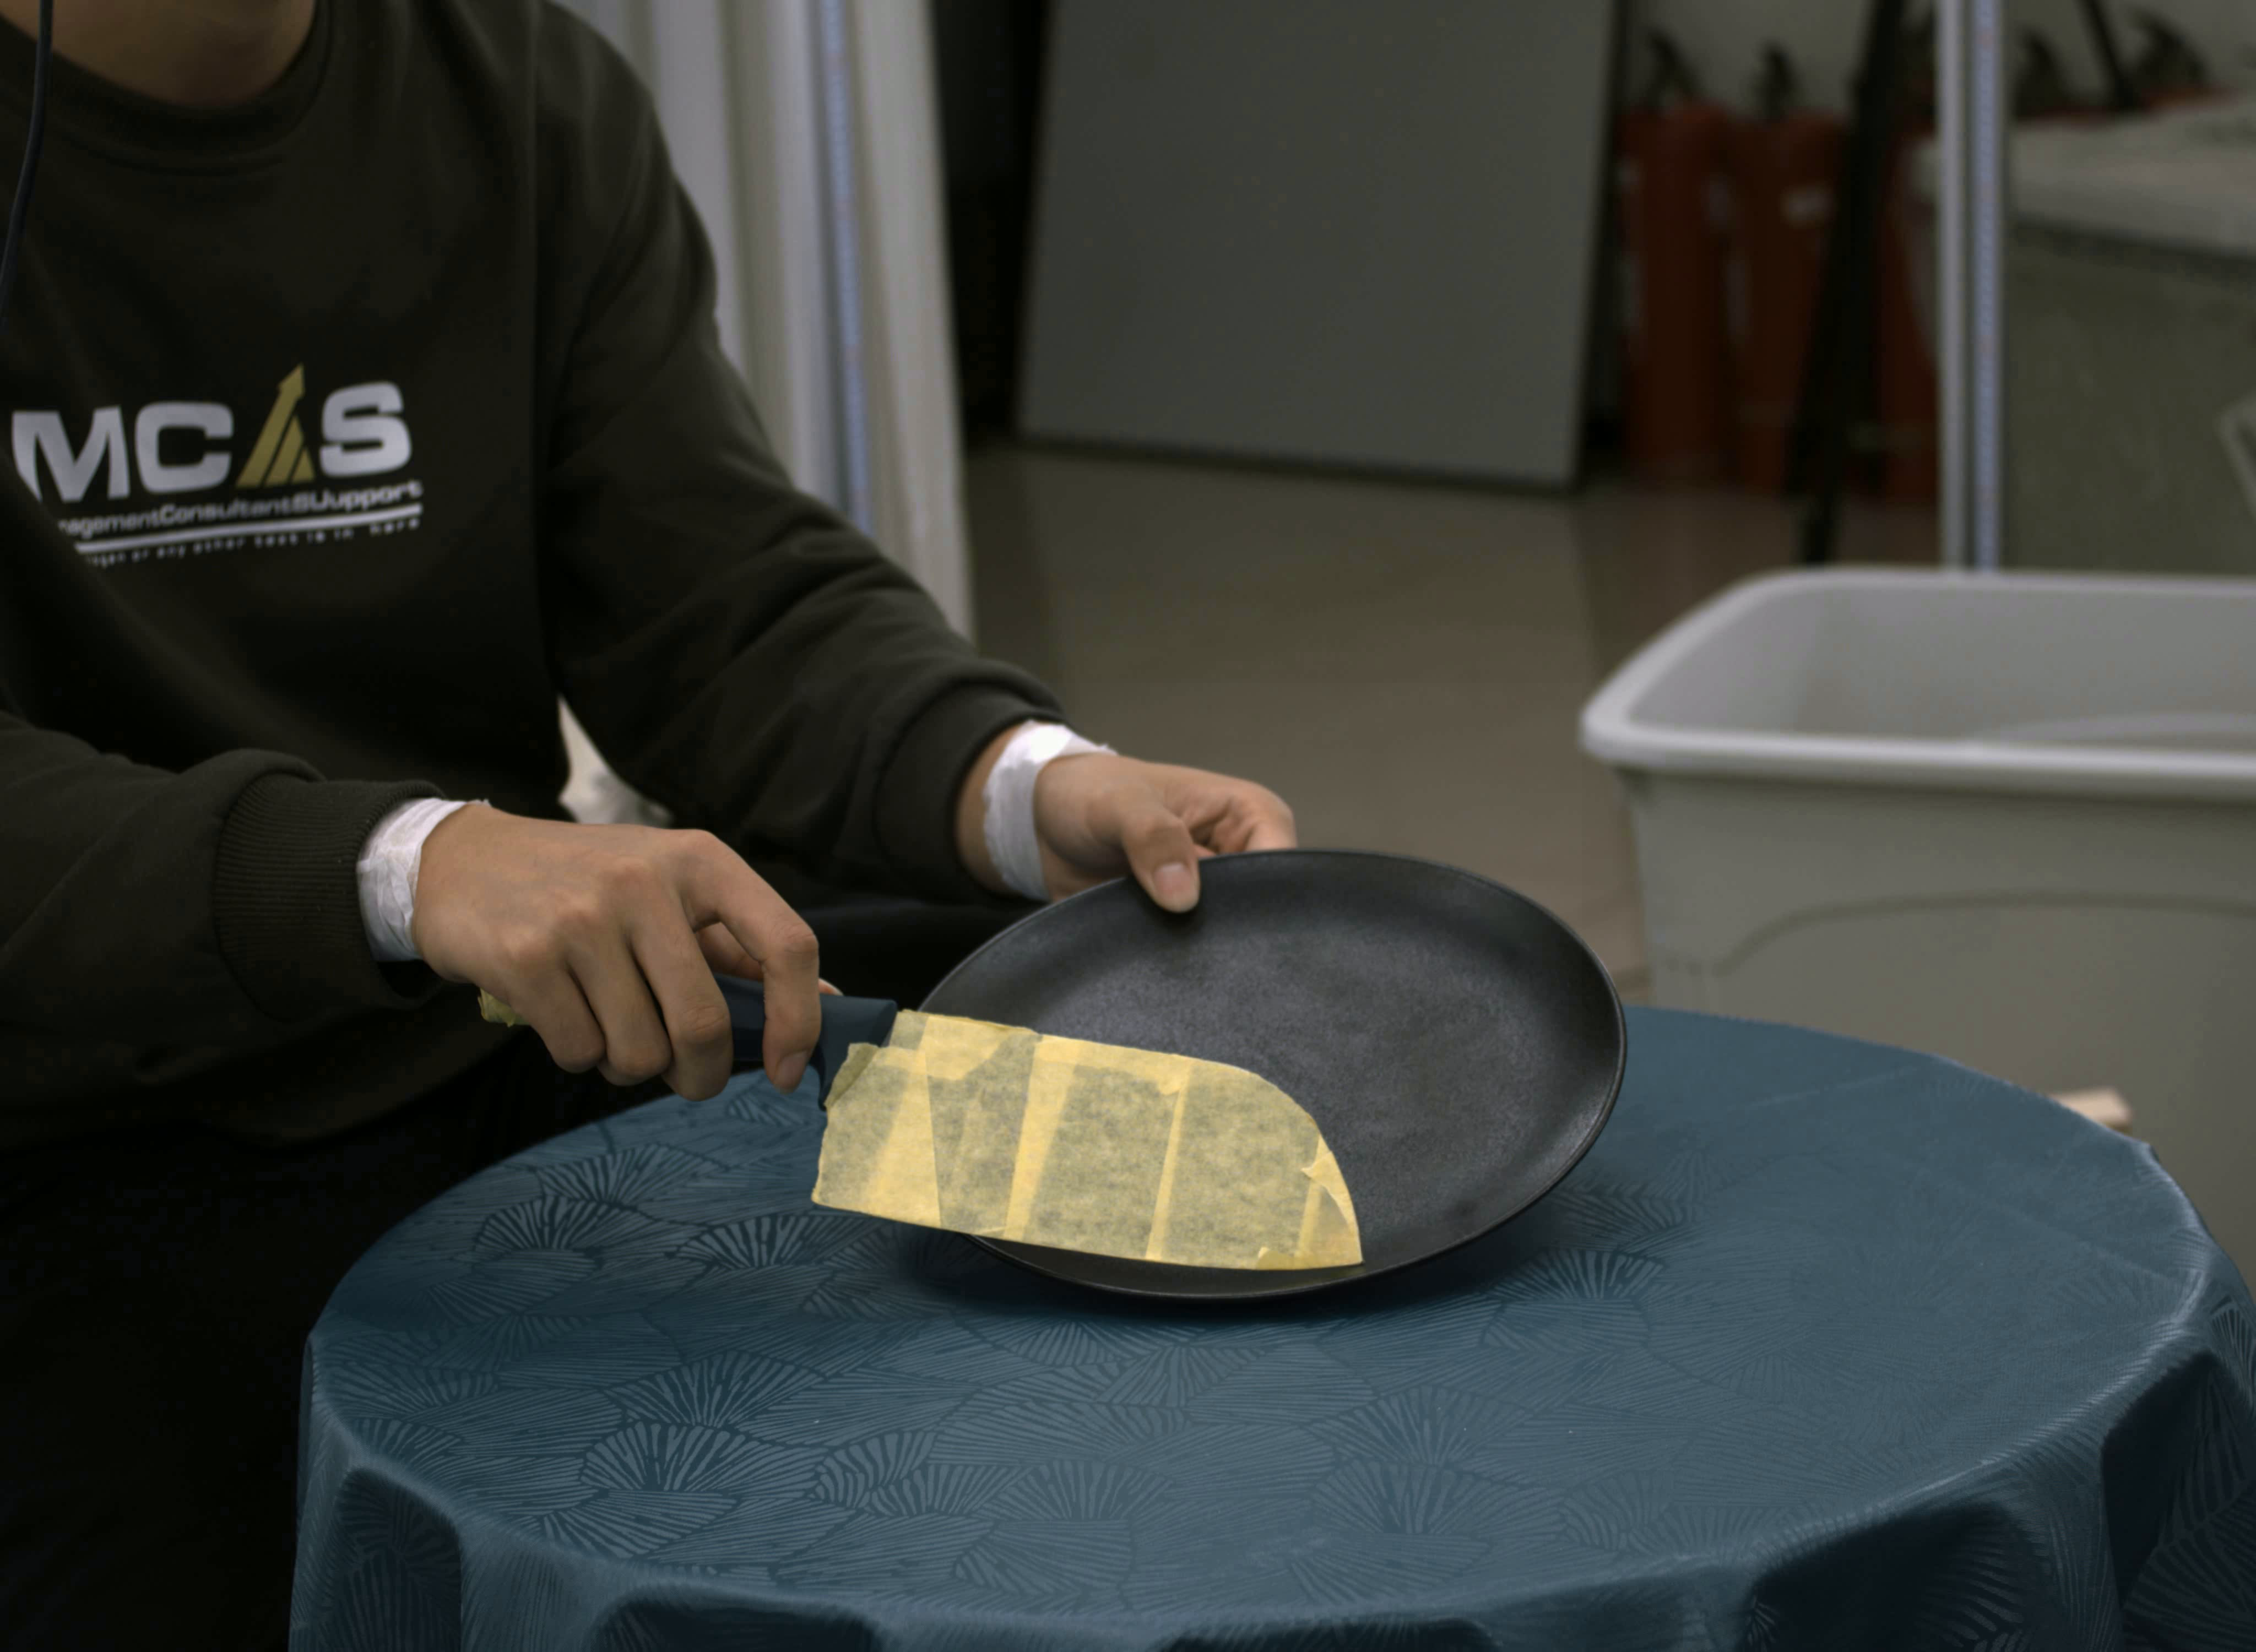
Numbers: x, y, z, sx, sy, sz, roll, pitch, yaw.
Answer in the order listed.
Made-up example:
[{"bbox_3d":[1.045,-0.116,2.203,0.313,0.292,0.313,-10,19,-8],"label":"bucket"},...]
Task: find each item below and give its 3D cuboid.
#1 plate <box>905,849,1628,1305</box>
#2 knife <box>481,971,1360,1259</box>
[{"bbox_3d":[0.042,0.085,1.739,0.242,0.023,0.246,-7,33,4],"label":"plate"},{"bbox_3d":[-0.067,0.090,1.679,0.287,0.027,0.081,11,59,9],"label":"knife"}]
